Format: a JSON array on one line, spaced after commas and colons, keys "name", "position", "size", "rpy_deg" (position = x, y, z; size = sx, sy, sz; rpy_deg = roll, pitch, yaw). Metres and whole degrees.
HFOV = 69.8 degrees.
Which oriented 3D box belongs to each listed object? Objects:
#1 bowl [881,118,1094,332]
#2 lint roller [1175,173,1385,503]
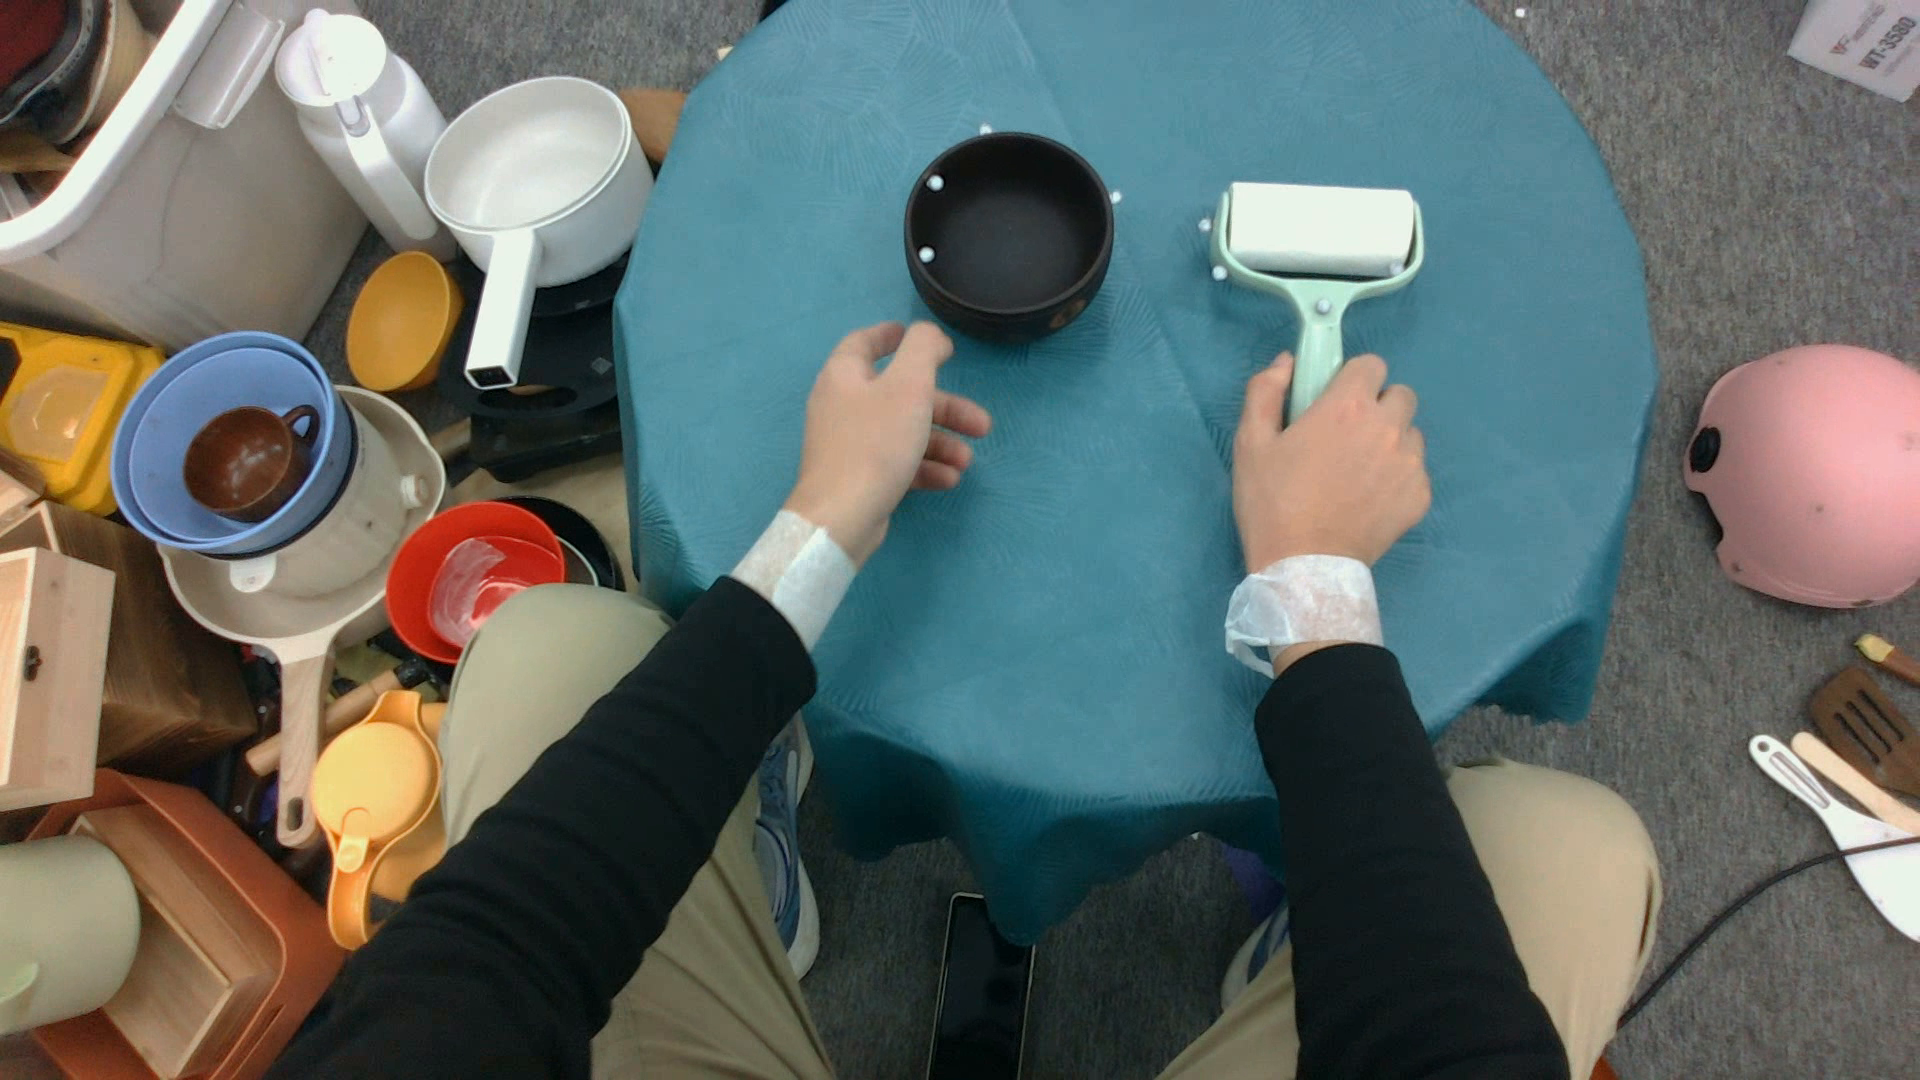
[{"name": "bowl", "position": [0.015, -0.171, 0.783], "size": [0.118, 0.069, 0.118], "rpy_deg": [0, 73, 0]}, {"name": "lint roller", "position": [0.179, -0.118, 0.774], "size": [0.116, 0.048, 0.198], "rpy_deg": [4, 69, 0]}]
